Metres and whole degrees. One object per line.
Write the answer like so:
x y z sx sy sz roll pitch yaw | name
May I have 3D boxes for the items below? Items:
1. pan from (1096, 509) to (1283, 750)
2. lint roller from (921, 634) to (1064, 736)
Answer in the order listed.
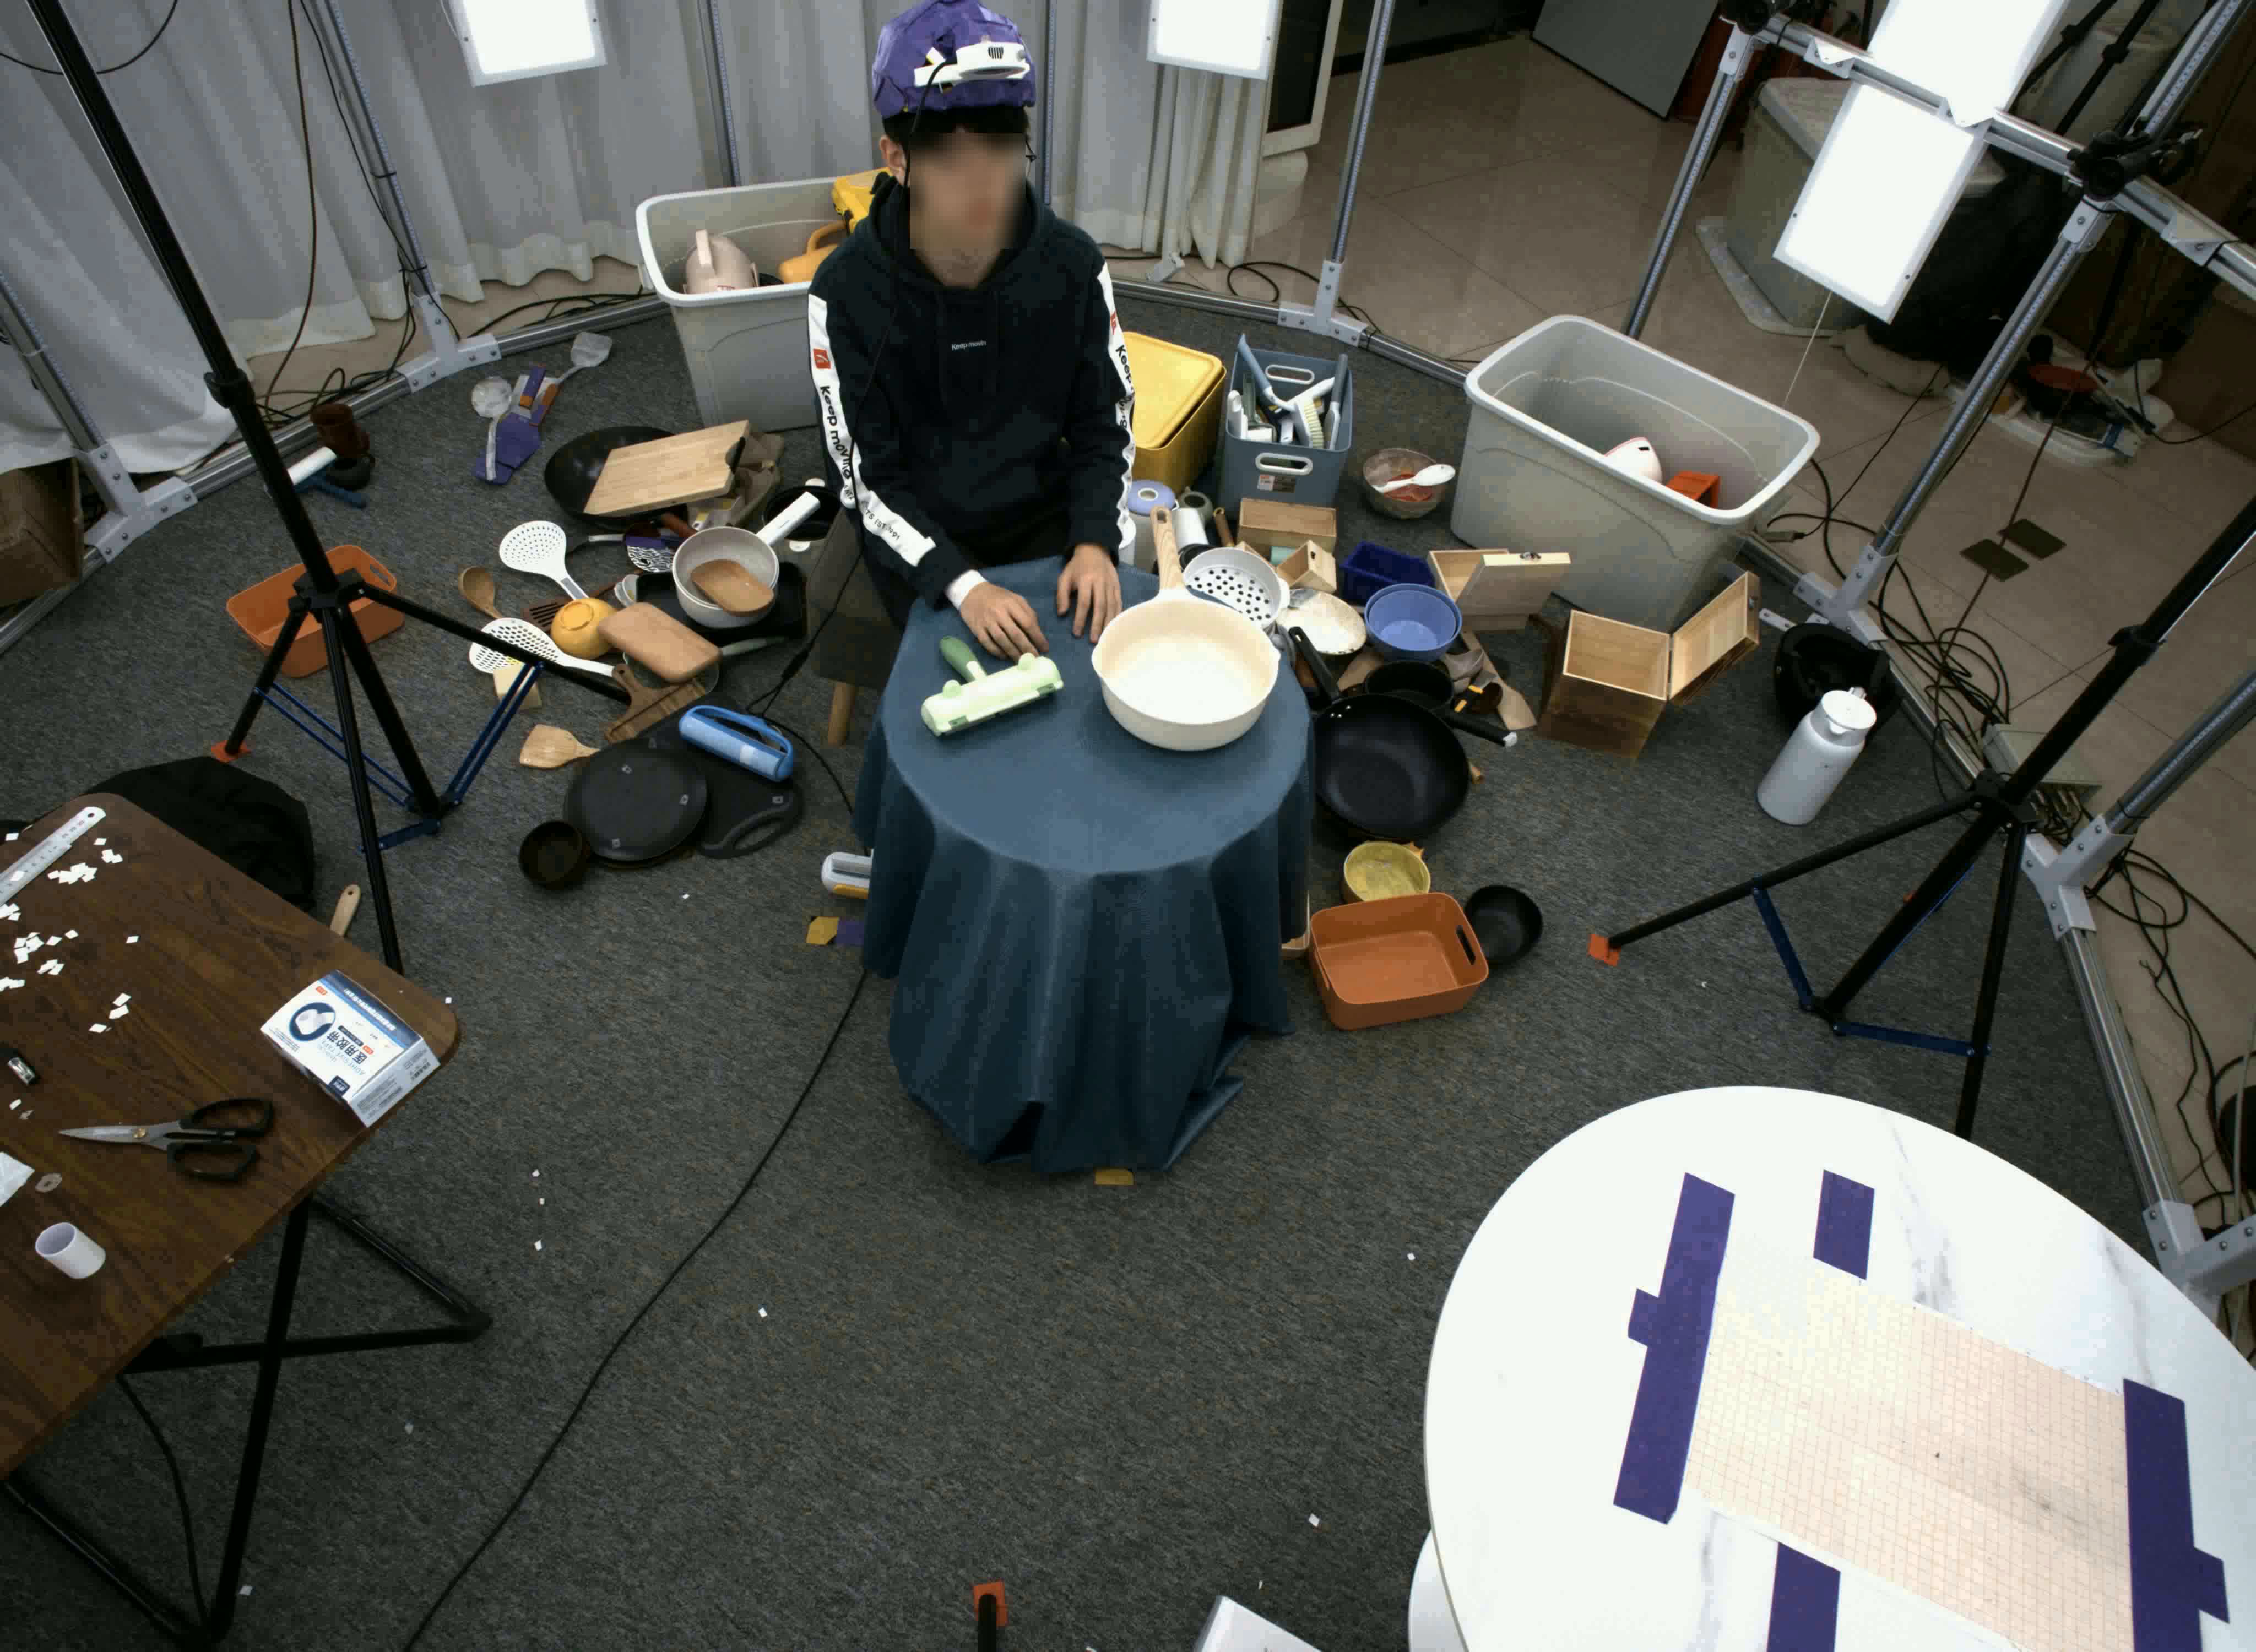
0.074 -0.284 1.855 0.263 0.099 0.446 -5 49 -6 | pan
-0.215 -0.226 1.801 0.199 0.080 0.187 -23 60 -21 | lint roller
